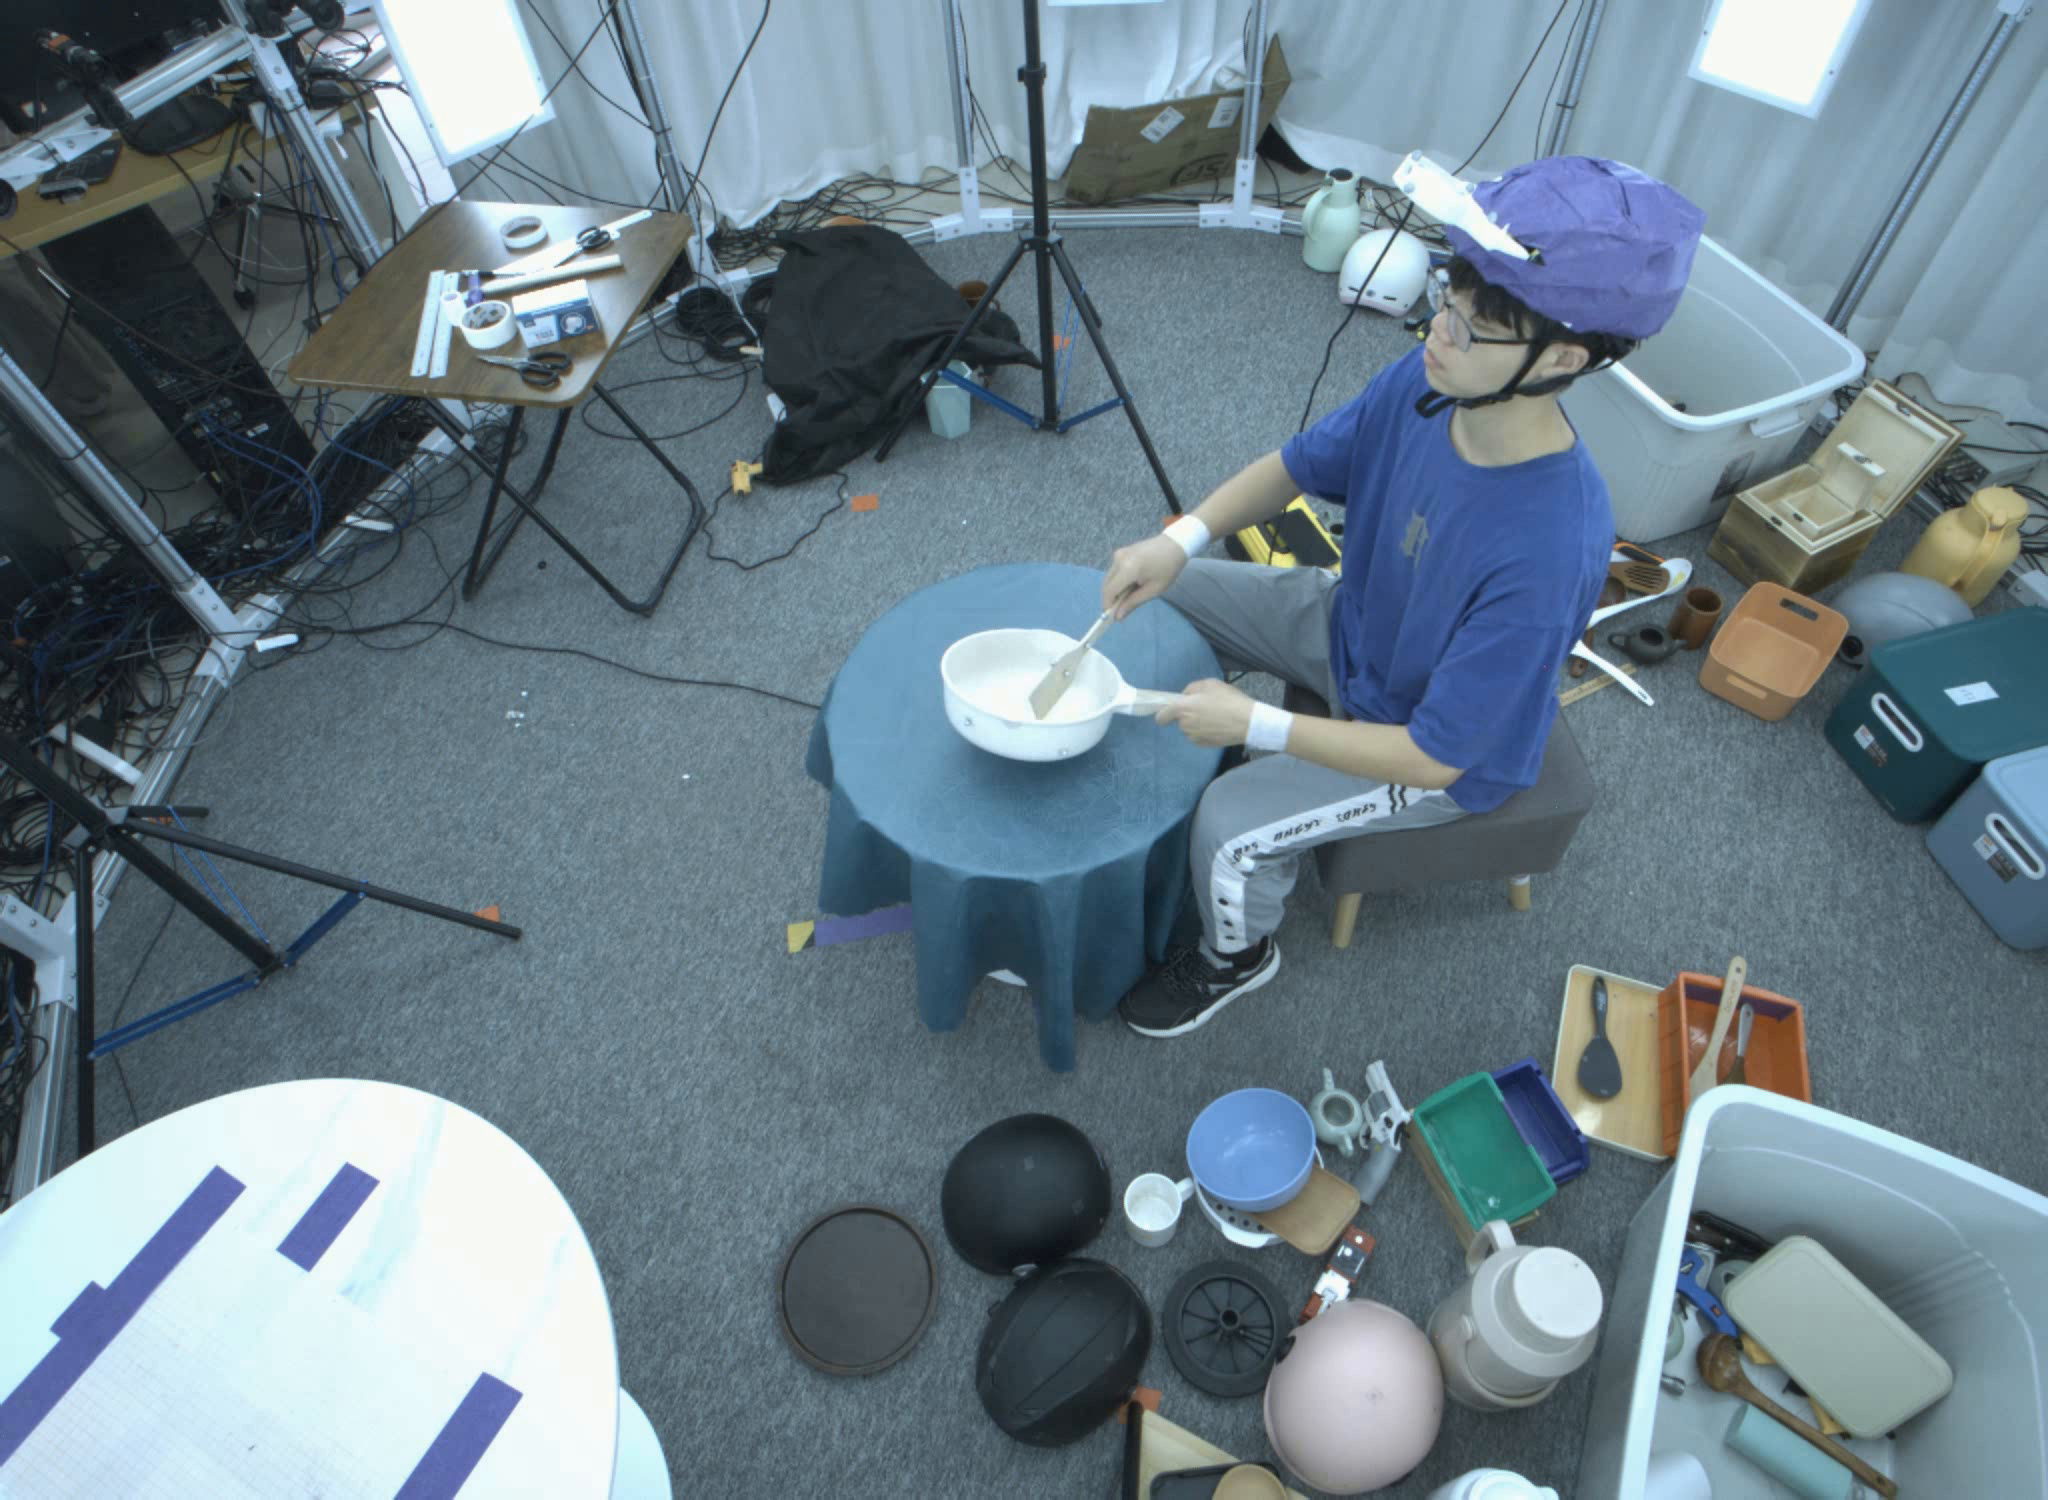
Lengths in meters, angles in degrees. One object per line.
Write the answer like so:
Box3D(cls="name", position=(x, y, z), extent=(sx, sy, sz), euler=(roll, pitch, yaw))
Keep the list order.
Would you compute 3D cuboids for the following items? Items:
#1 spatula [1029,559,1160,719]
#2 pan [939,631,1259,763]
Box3D(cls="spatula", position=(0.102, -0.164, 1.724), extent=(0.010, 0.073, 0.294), euler=(30, 70, 29))
Box3D(cls="pan", position=(0.095, -0.057, 1.683), extent=(0.434, 0.102, 0.262), euler=(12, 32, 4))
